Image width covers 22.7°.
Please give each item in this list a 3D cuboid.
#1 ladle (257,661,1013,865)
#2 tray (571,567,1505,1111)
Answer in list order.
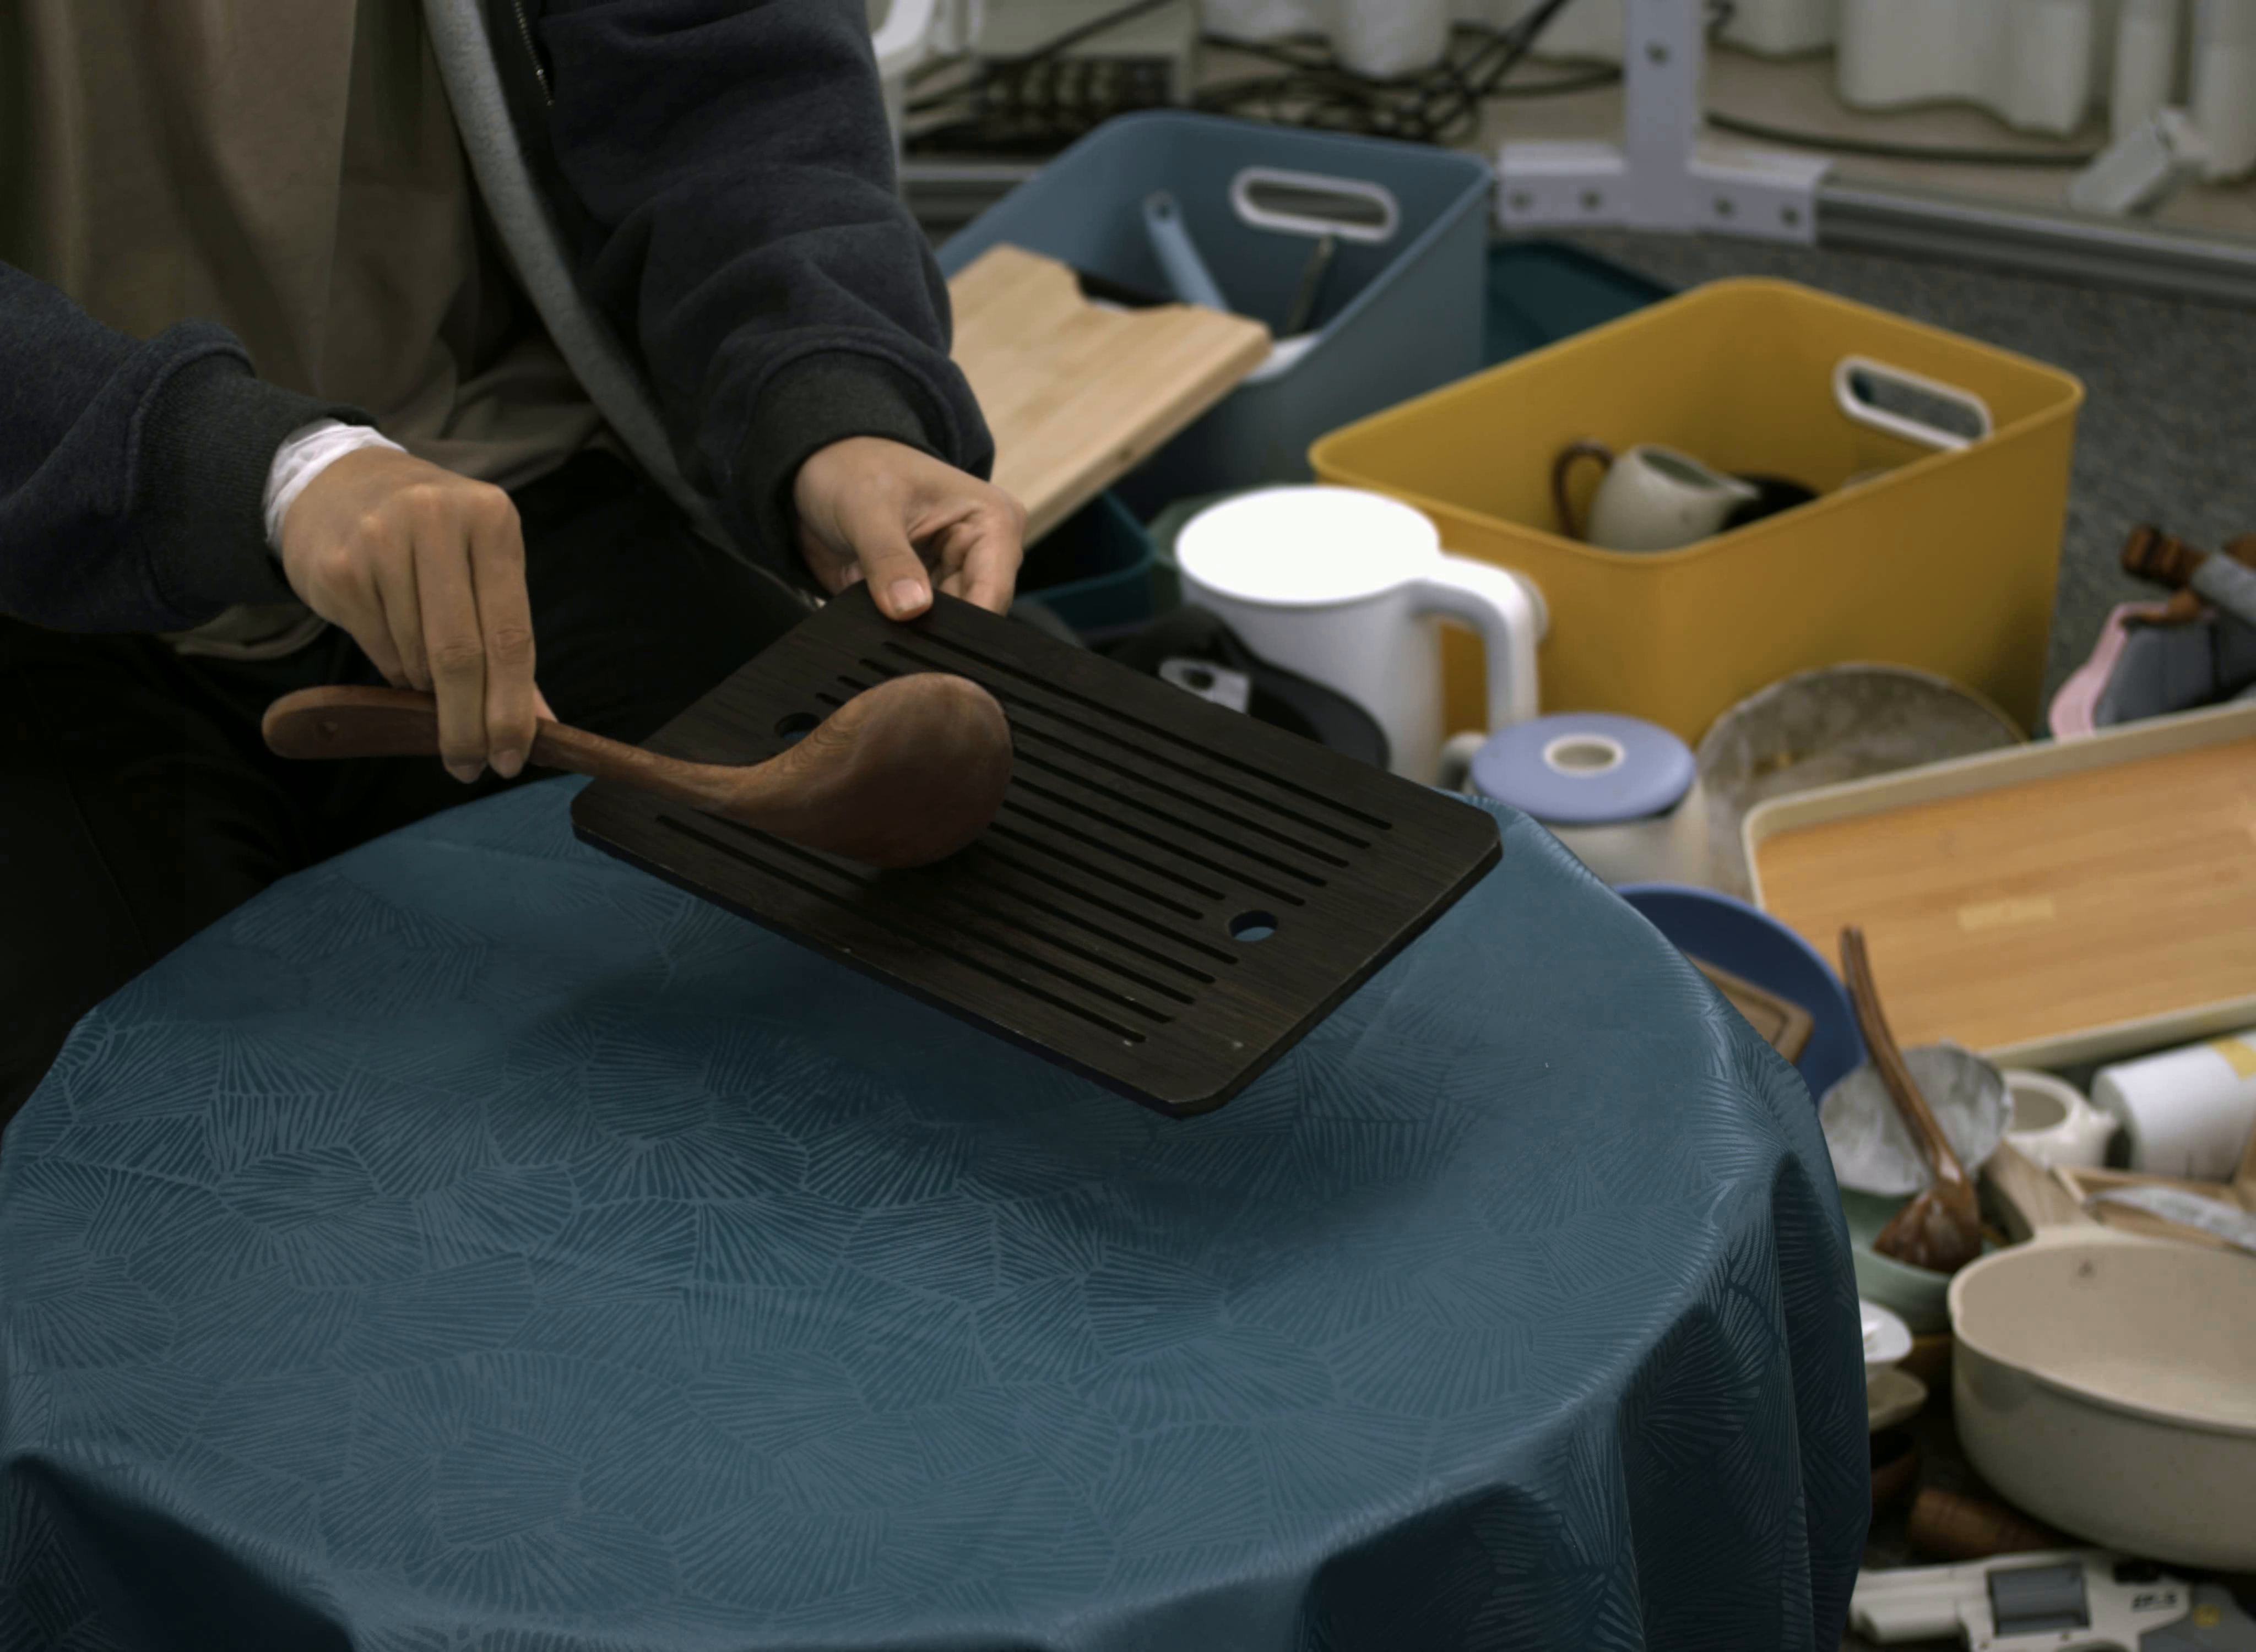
[{"bbox_3d":[-0.167,-0.032,1.918,0.258,0.075,0.066,8,36,14],"label":"ladle"},{"bbox_3d":[-0.034,0.001,1.933,0.305,0.018,0.172,23,48,37],"label":"tray"}]
